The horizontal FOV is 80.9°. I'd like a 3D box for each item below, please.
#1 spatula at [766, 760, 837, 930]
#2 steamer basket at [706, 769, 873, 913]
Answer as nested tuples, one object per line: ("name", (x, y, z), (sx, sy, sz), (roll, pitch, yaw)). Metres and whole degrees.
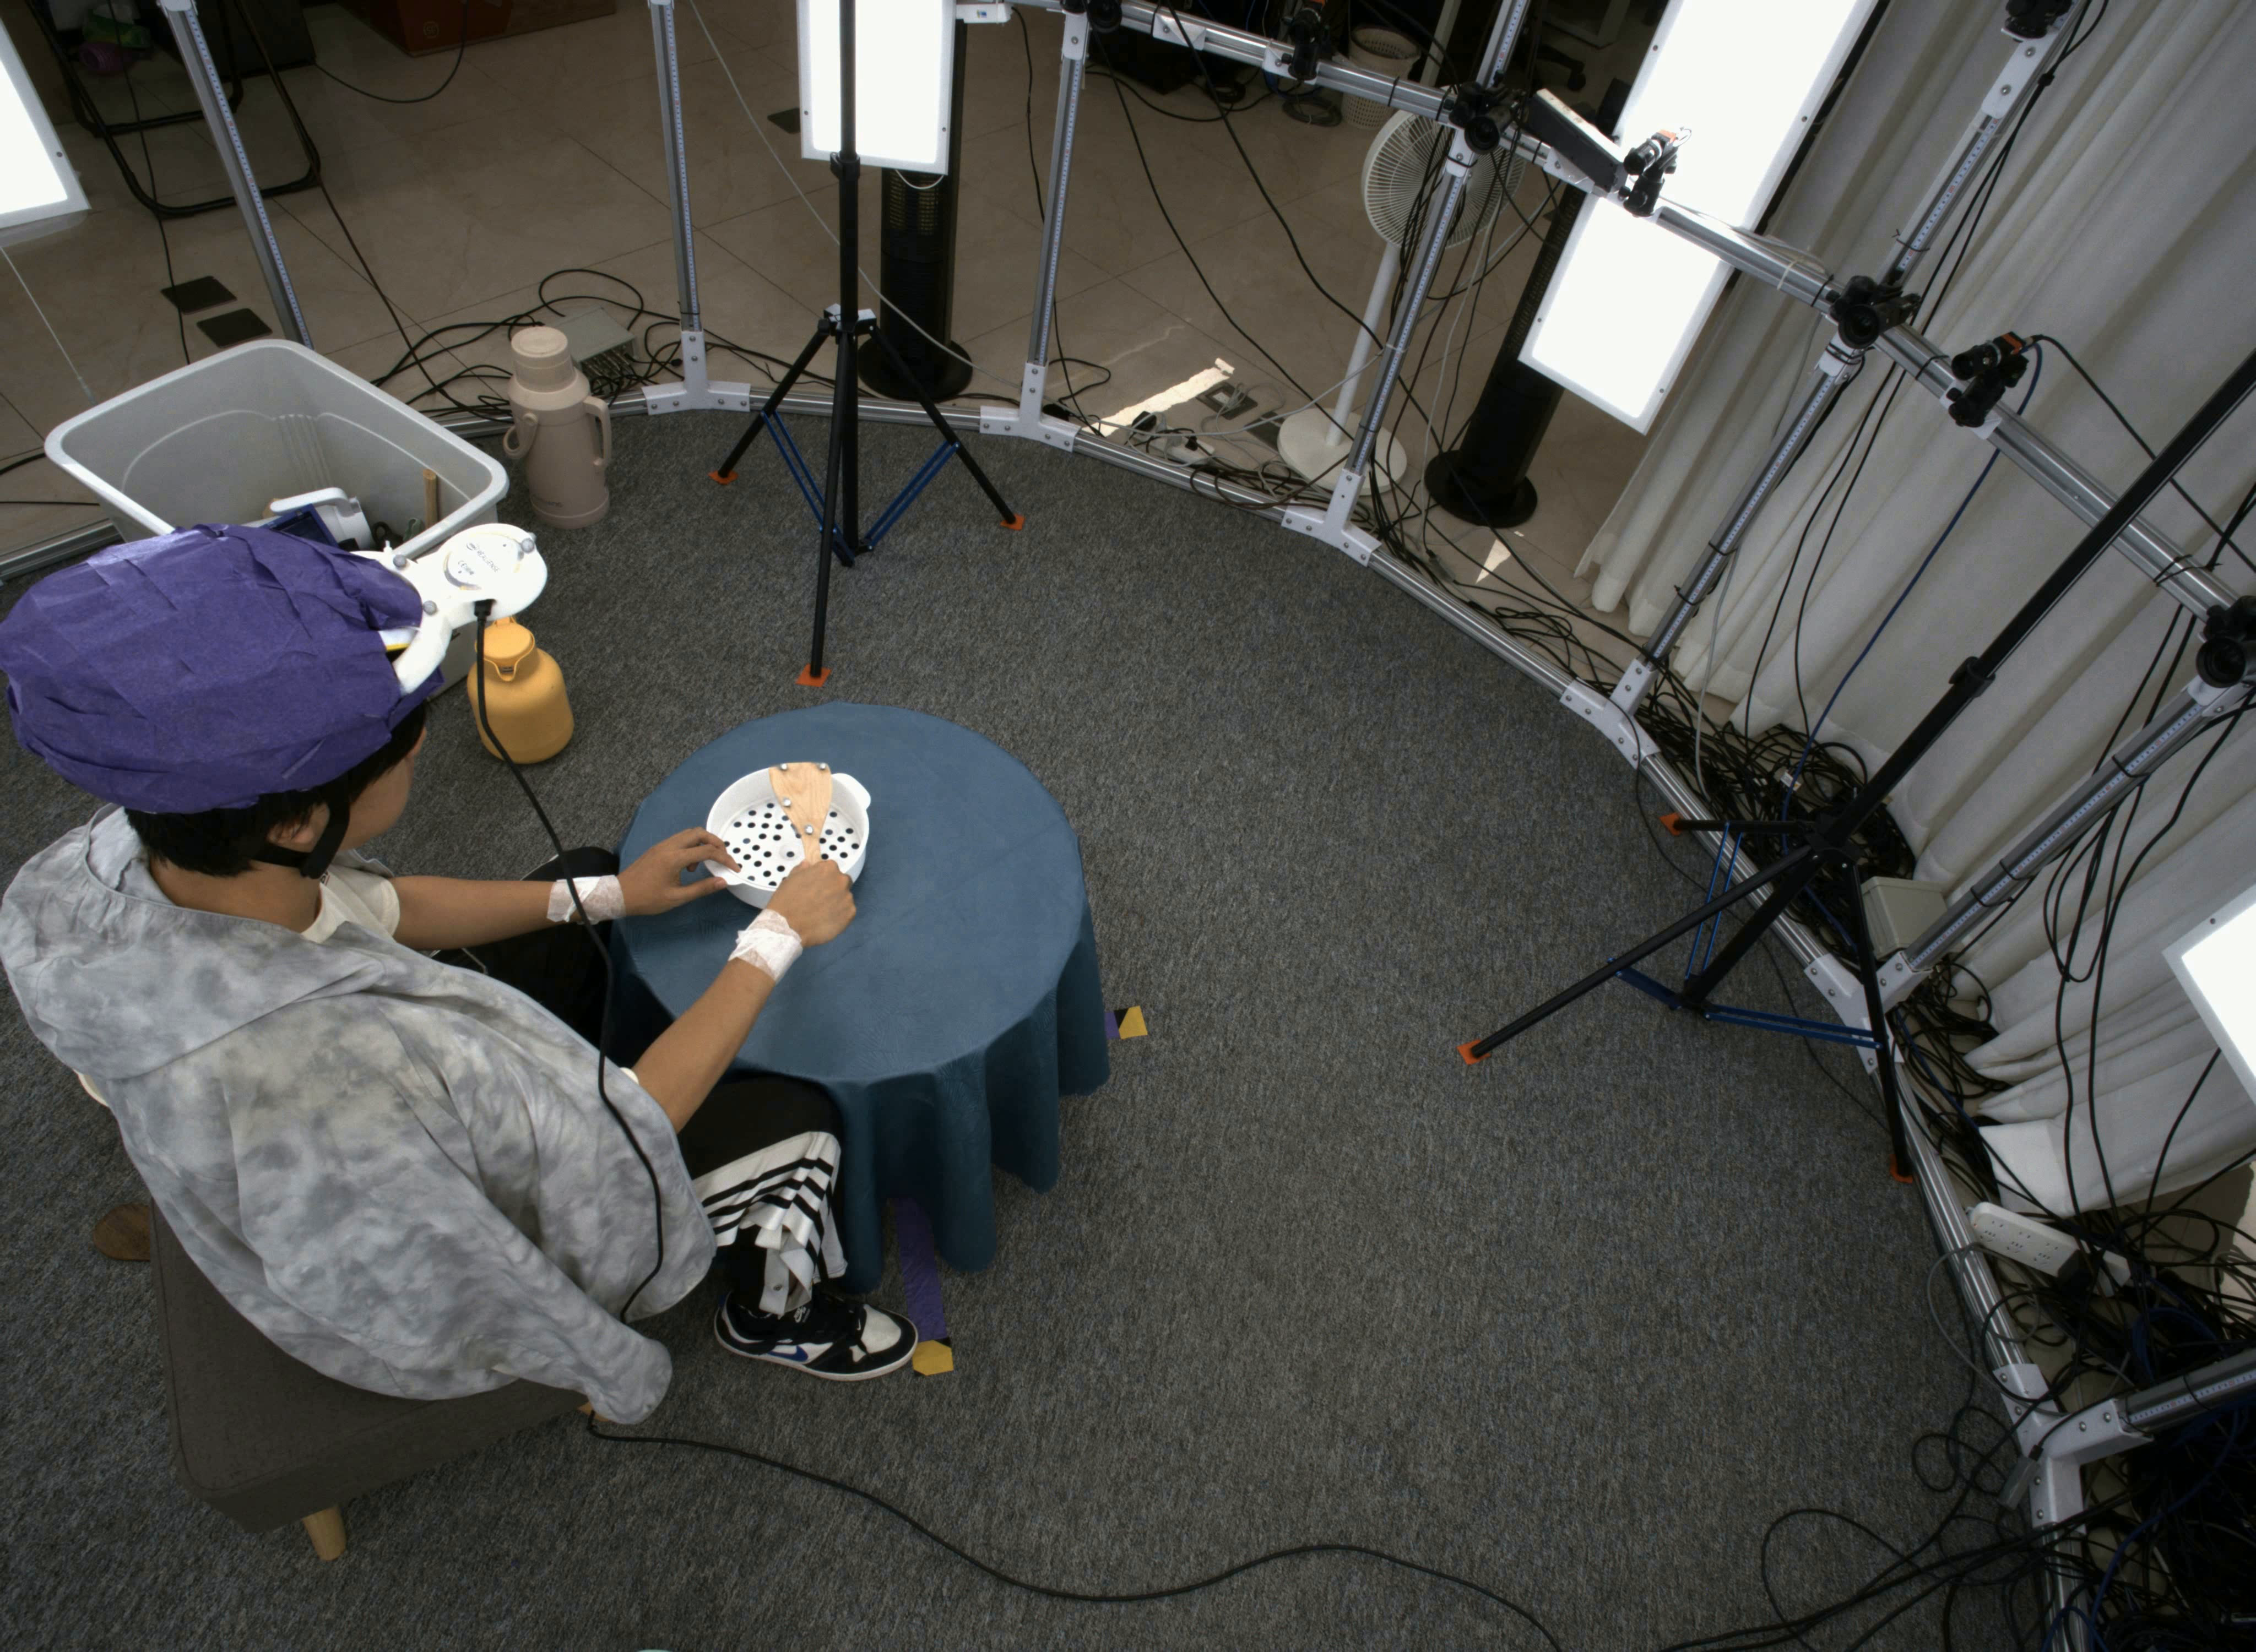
("spatula", (-0.380, 0.014, 1.547), (0.081, 0.017, 0.317), (4, 35, -25))
("steamer basket", (-0.431, 0.017, 1.670), (0.231, 0.071, 0.197), (-35, 67, -31))
